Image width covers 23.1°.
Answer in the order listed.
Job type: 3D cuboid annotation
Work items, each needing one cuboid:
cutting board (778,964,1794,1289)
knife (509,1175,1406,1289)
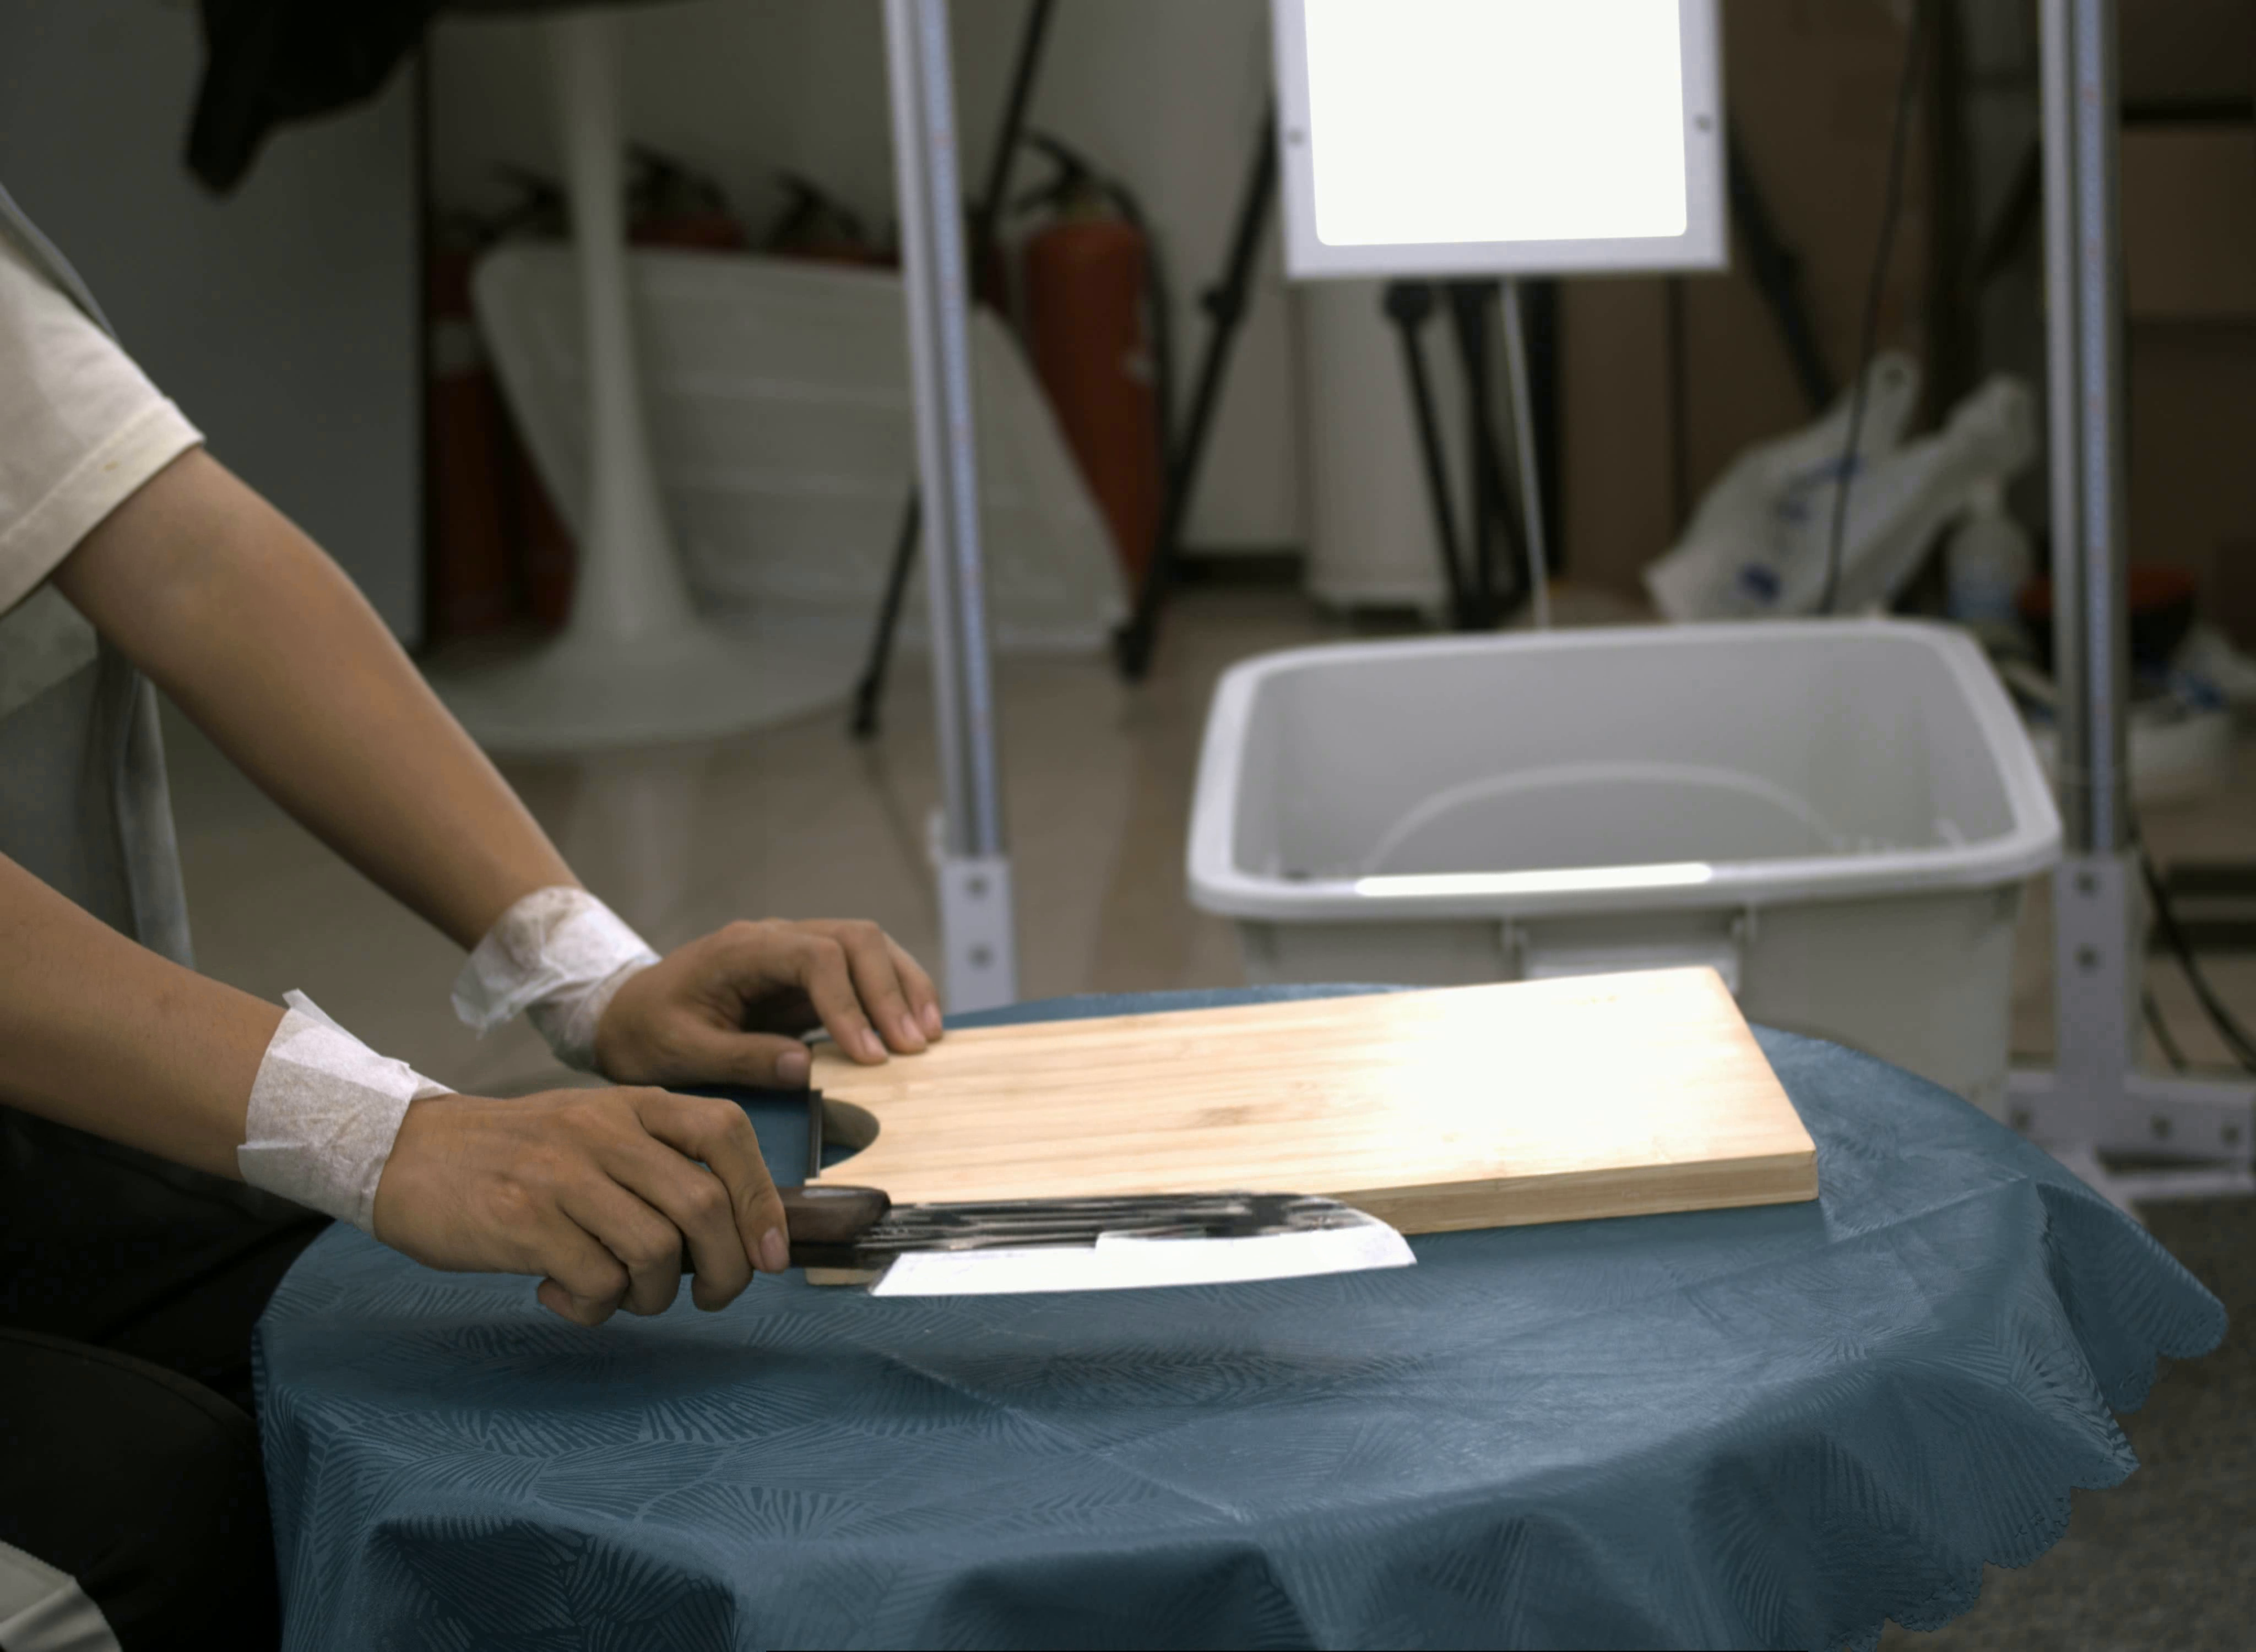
[{"bbox_3d":[0.051,0.104,1.939,0.347,0.023,0.250,-5,13,0],"label":"cutting board"},{"bbox_3d":[-0.058,0.129,1.730,0.302,0.024,0.067,-3,21,14],"label":"knife"}]
